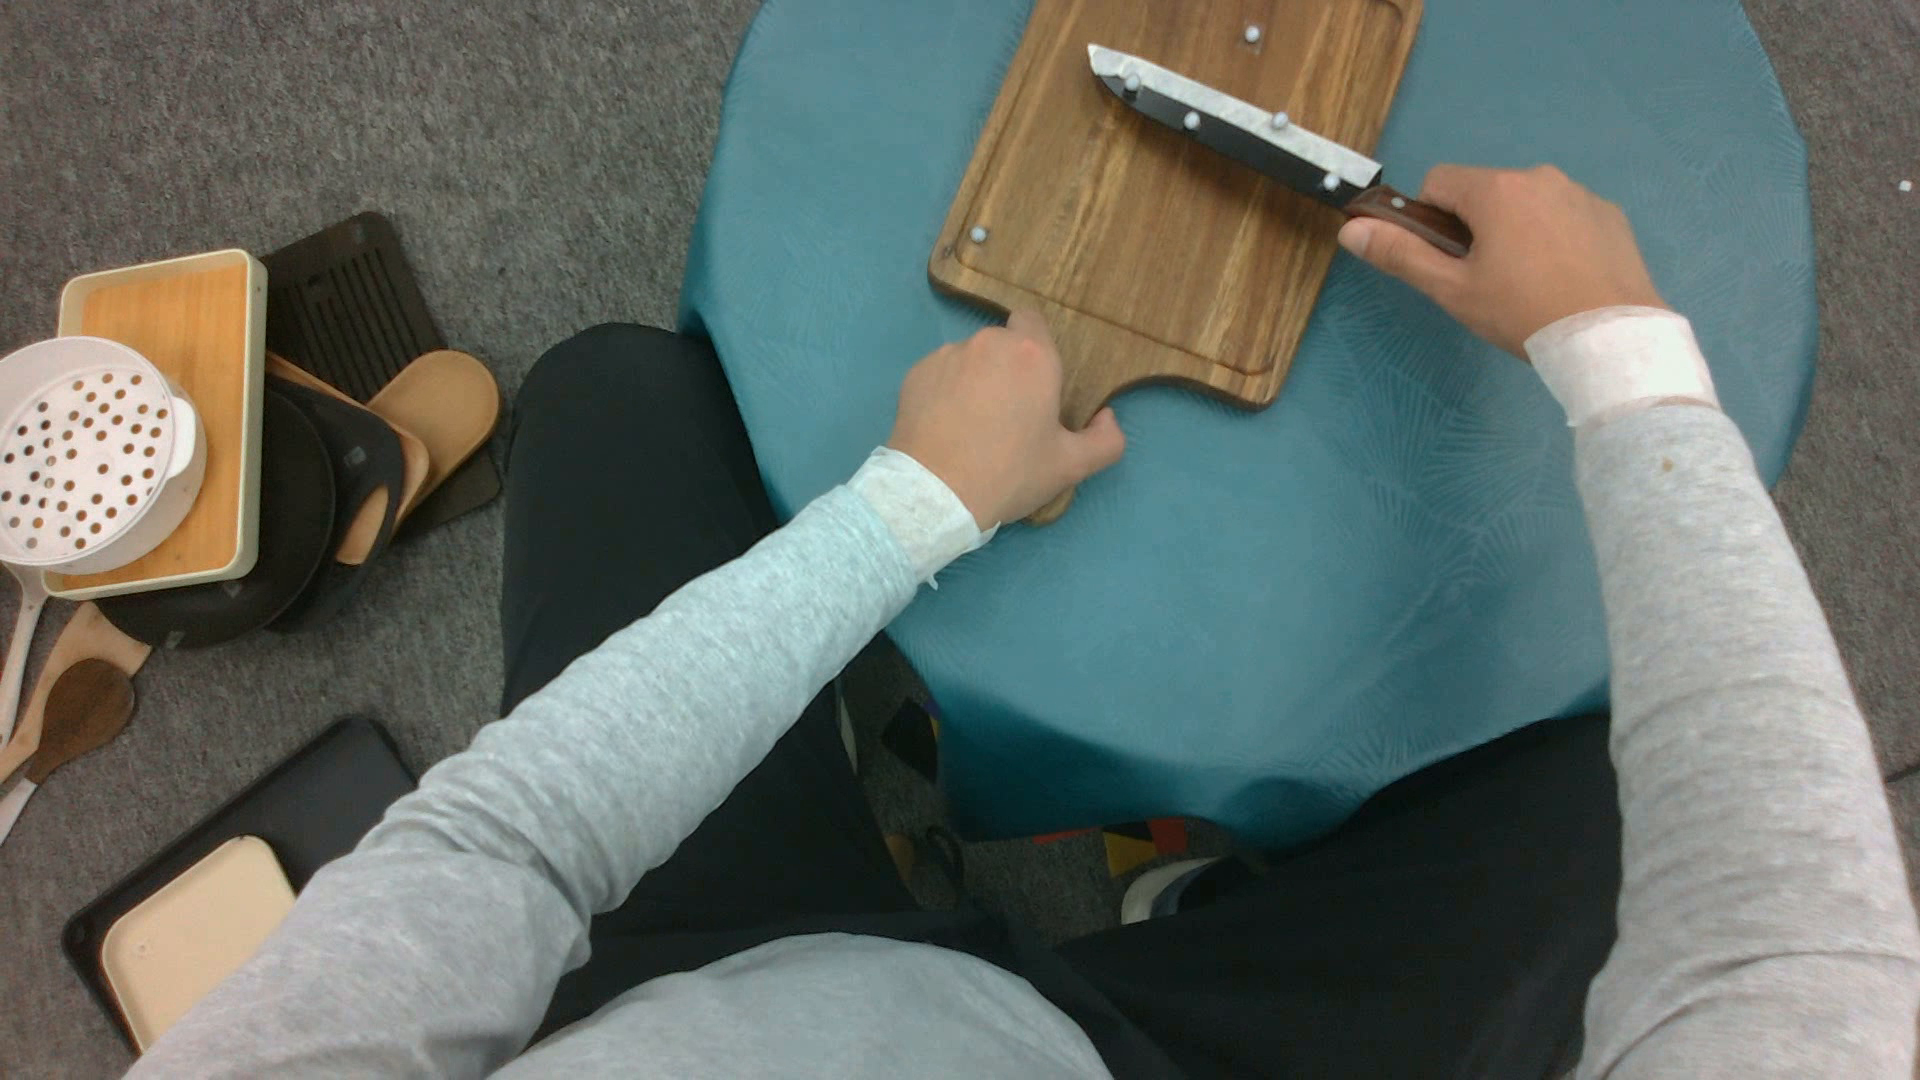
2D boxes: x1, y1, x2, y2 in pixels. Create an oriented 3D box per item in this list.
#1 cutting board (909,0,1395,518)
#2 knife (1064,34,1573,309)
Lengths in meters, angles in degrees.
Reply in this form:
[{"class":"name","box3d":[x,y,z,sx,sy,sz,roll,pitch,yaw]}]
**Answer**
[{"class":"cutting board","box3d":[0.088,-0.176,0.730,0.201,0.023,0.353,21,80,3]},{"class":"knife","box3d":[0.175,-0.192,0.695,0.289,0.020,0.050,32,57,13]}]
